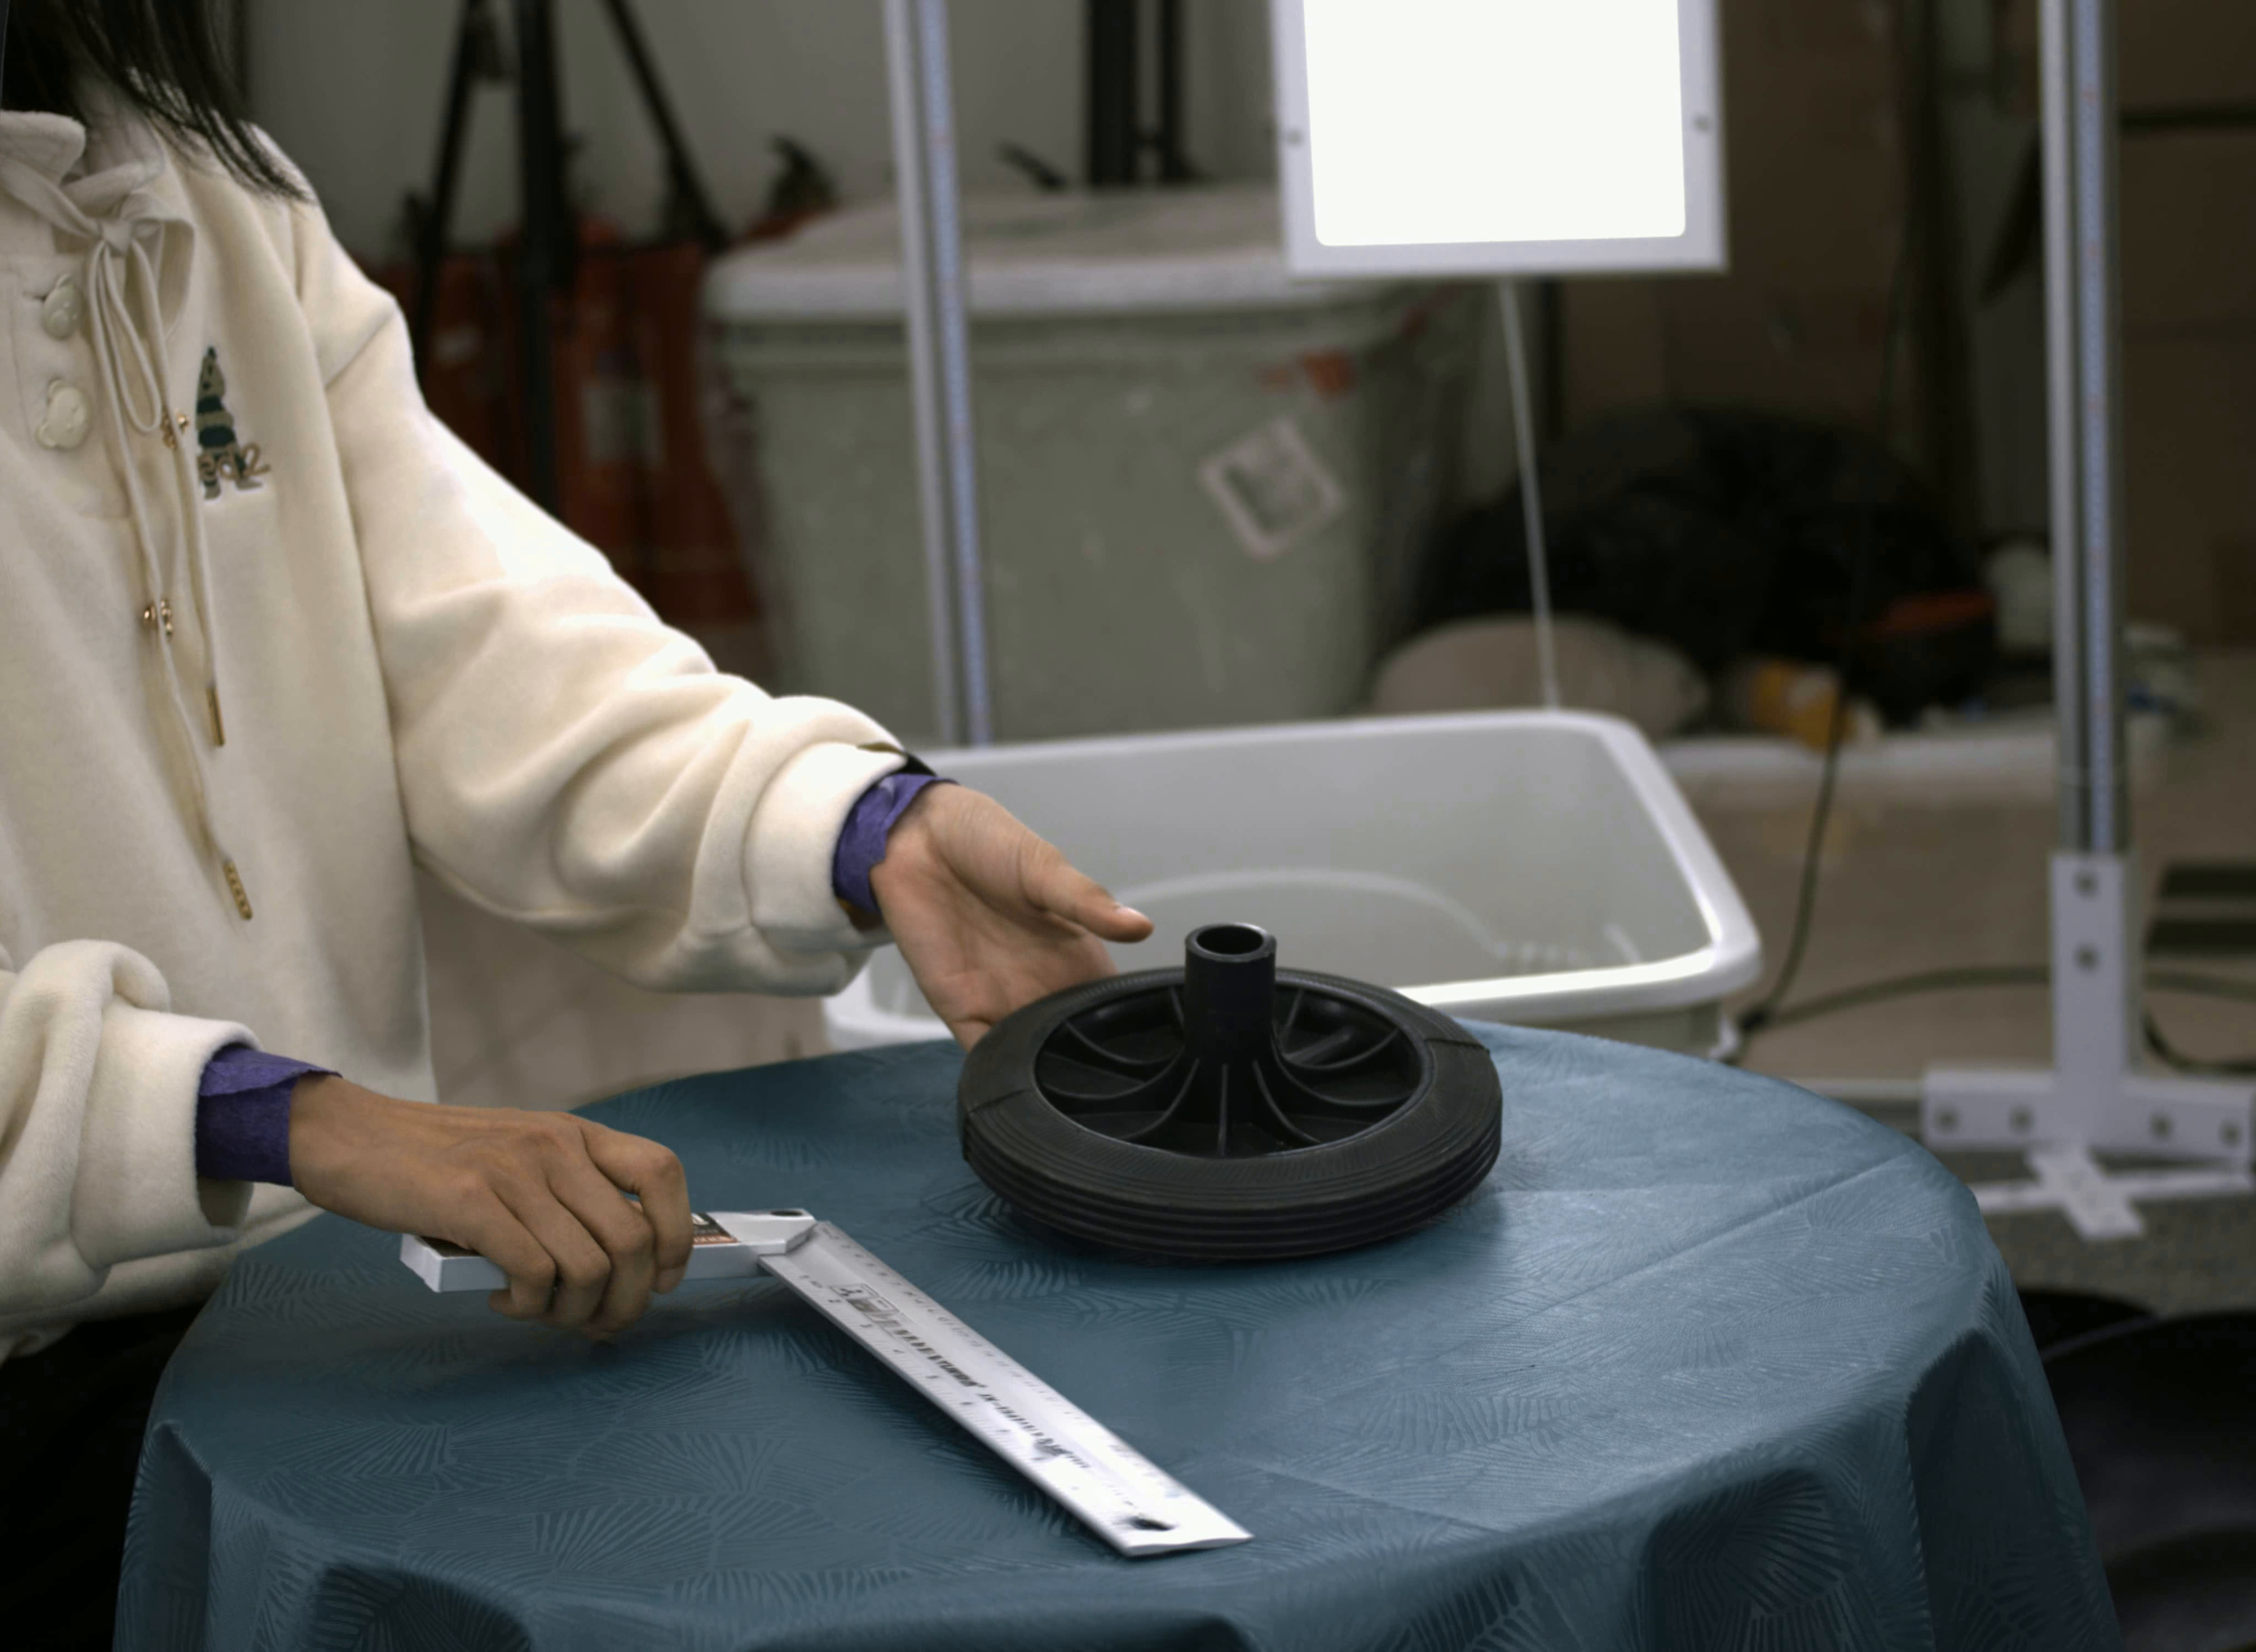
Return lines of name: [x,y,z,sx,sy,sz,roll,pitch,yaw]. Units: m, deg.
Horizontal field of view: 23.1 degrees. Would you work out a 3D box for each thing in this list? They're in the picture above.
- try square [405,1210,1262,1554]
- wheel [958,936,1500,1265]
try square: [-0.098,0.172,1.679,0.149,0.016,0.318,-4,15,-25]
wheel: [0.035,0.079,1.880,0.190,0.079,0.186,8,25,21]
